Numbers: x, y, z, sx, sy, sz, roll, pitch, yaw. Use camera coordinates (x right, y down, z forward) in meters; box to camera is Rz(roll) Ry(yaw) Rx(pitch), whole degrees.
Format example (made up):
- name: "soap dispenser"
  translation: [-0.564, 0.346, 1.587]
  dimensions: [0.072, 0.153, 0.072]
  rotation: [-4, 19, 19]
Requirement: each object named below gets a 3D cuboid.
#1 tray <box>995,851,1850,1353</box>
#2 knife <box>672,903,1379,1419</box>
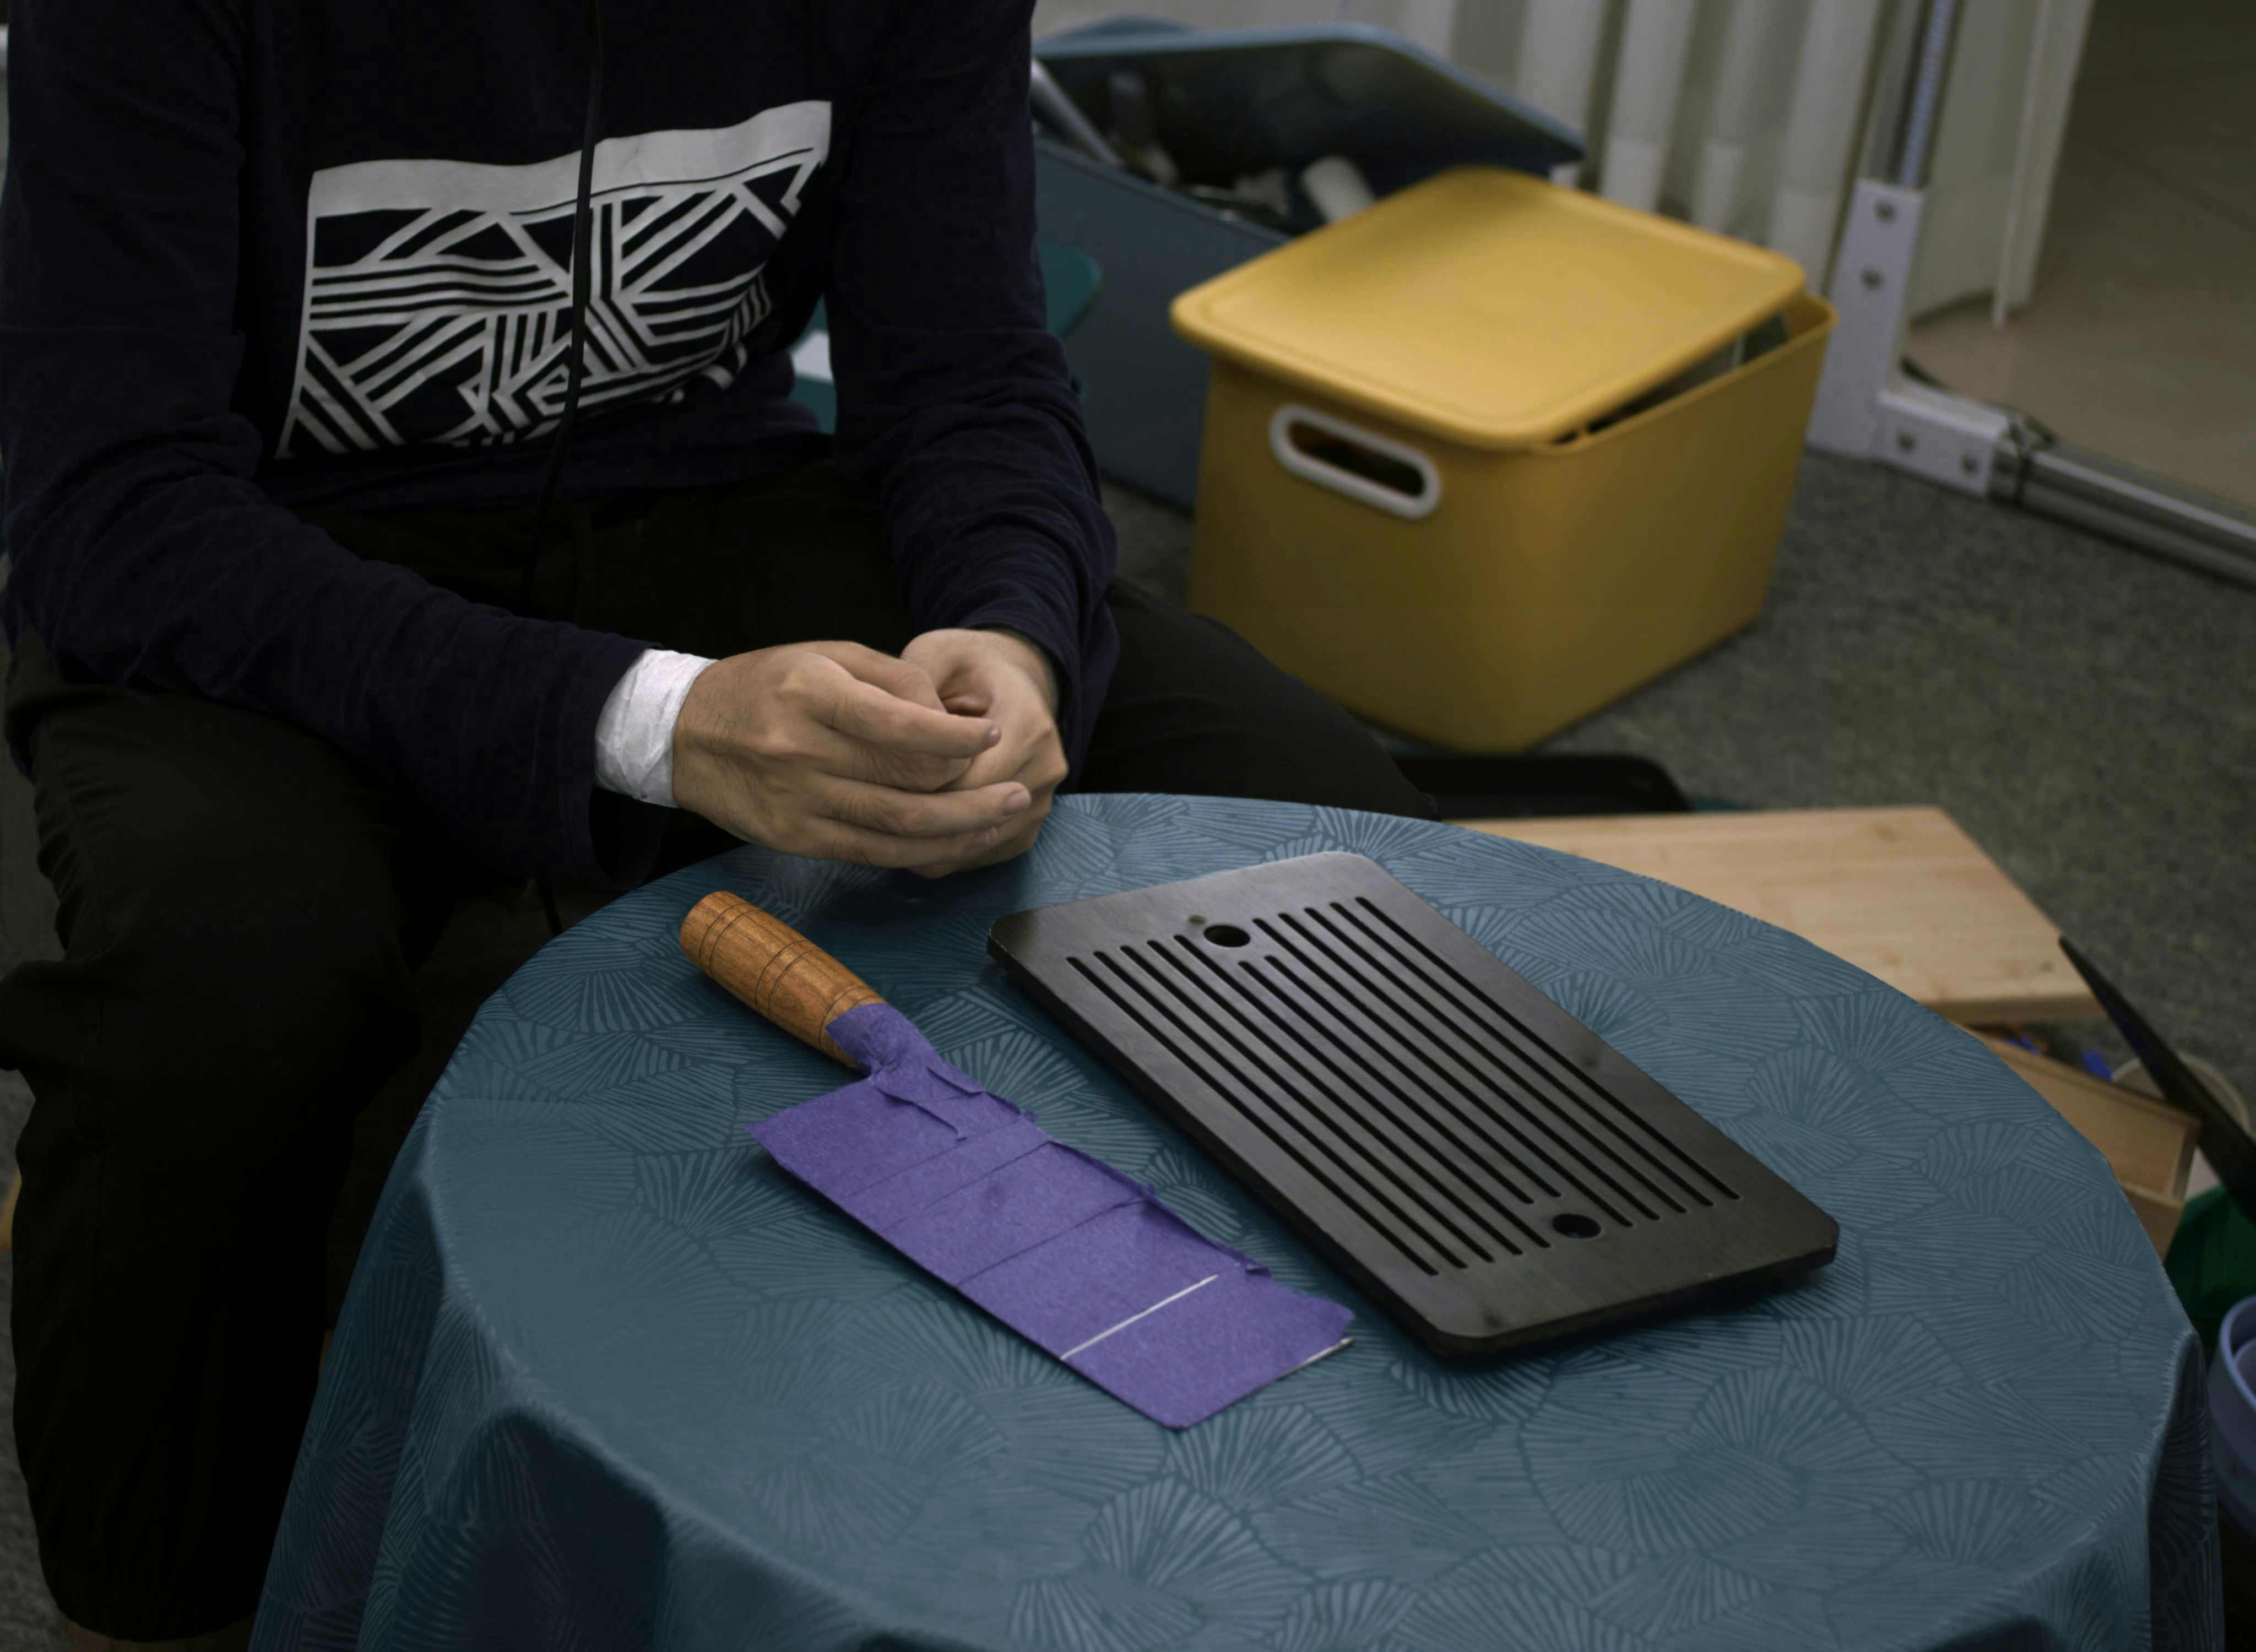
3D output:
- name: "tray"
  translation: [0.097, 0.093, 1.868]
  dimensions: [0.169, 0.018, 0.308]
  rotation: [-11, 31, -31]
- name: "knife"
  translation: [-0.062, 0.109, 1.791]
  dimensions: [0.317, 0.032, 0.103]
  rotation: [29, 34, 36]
